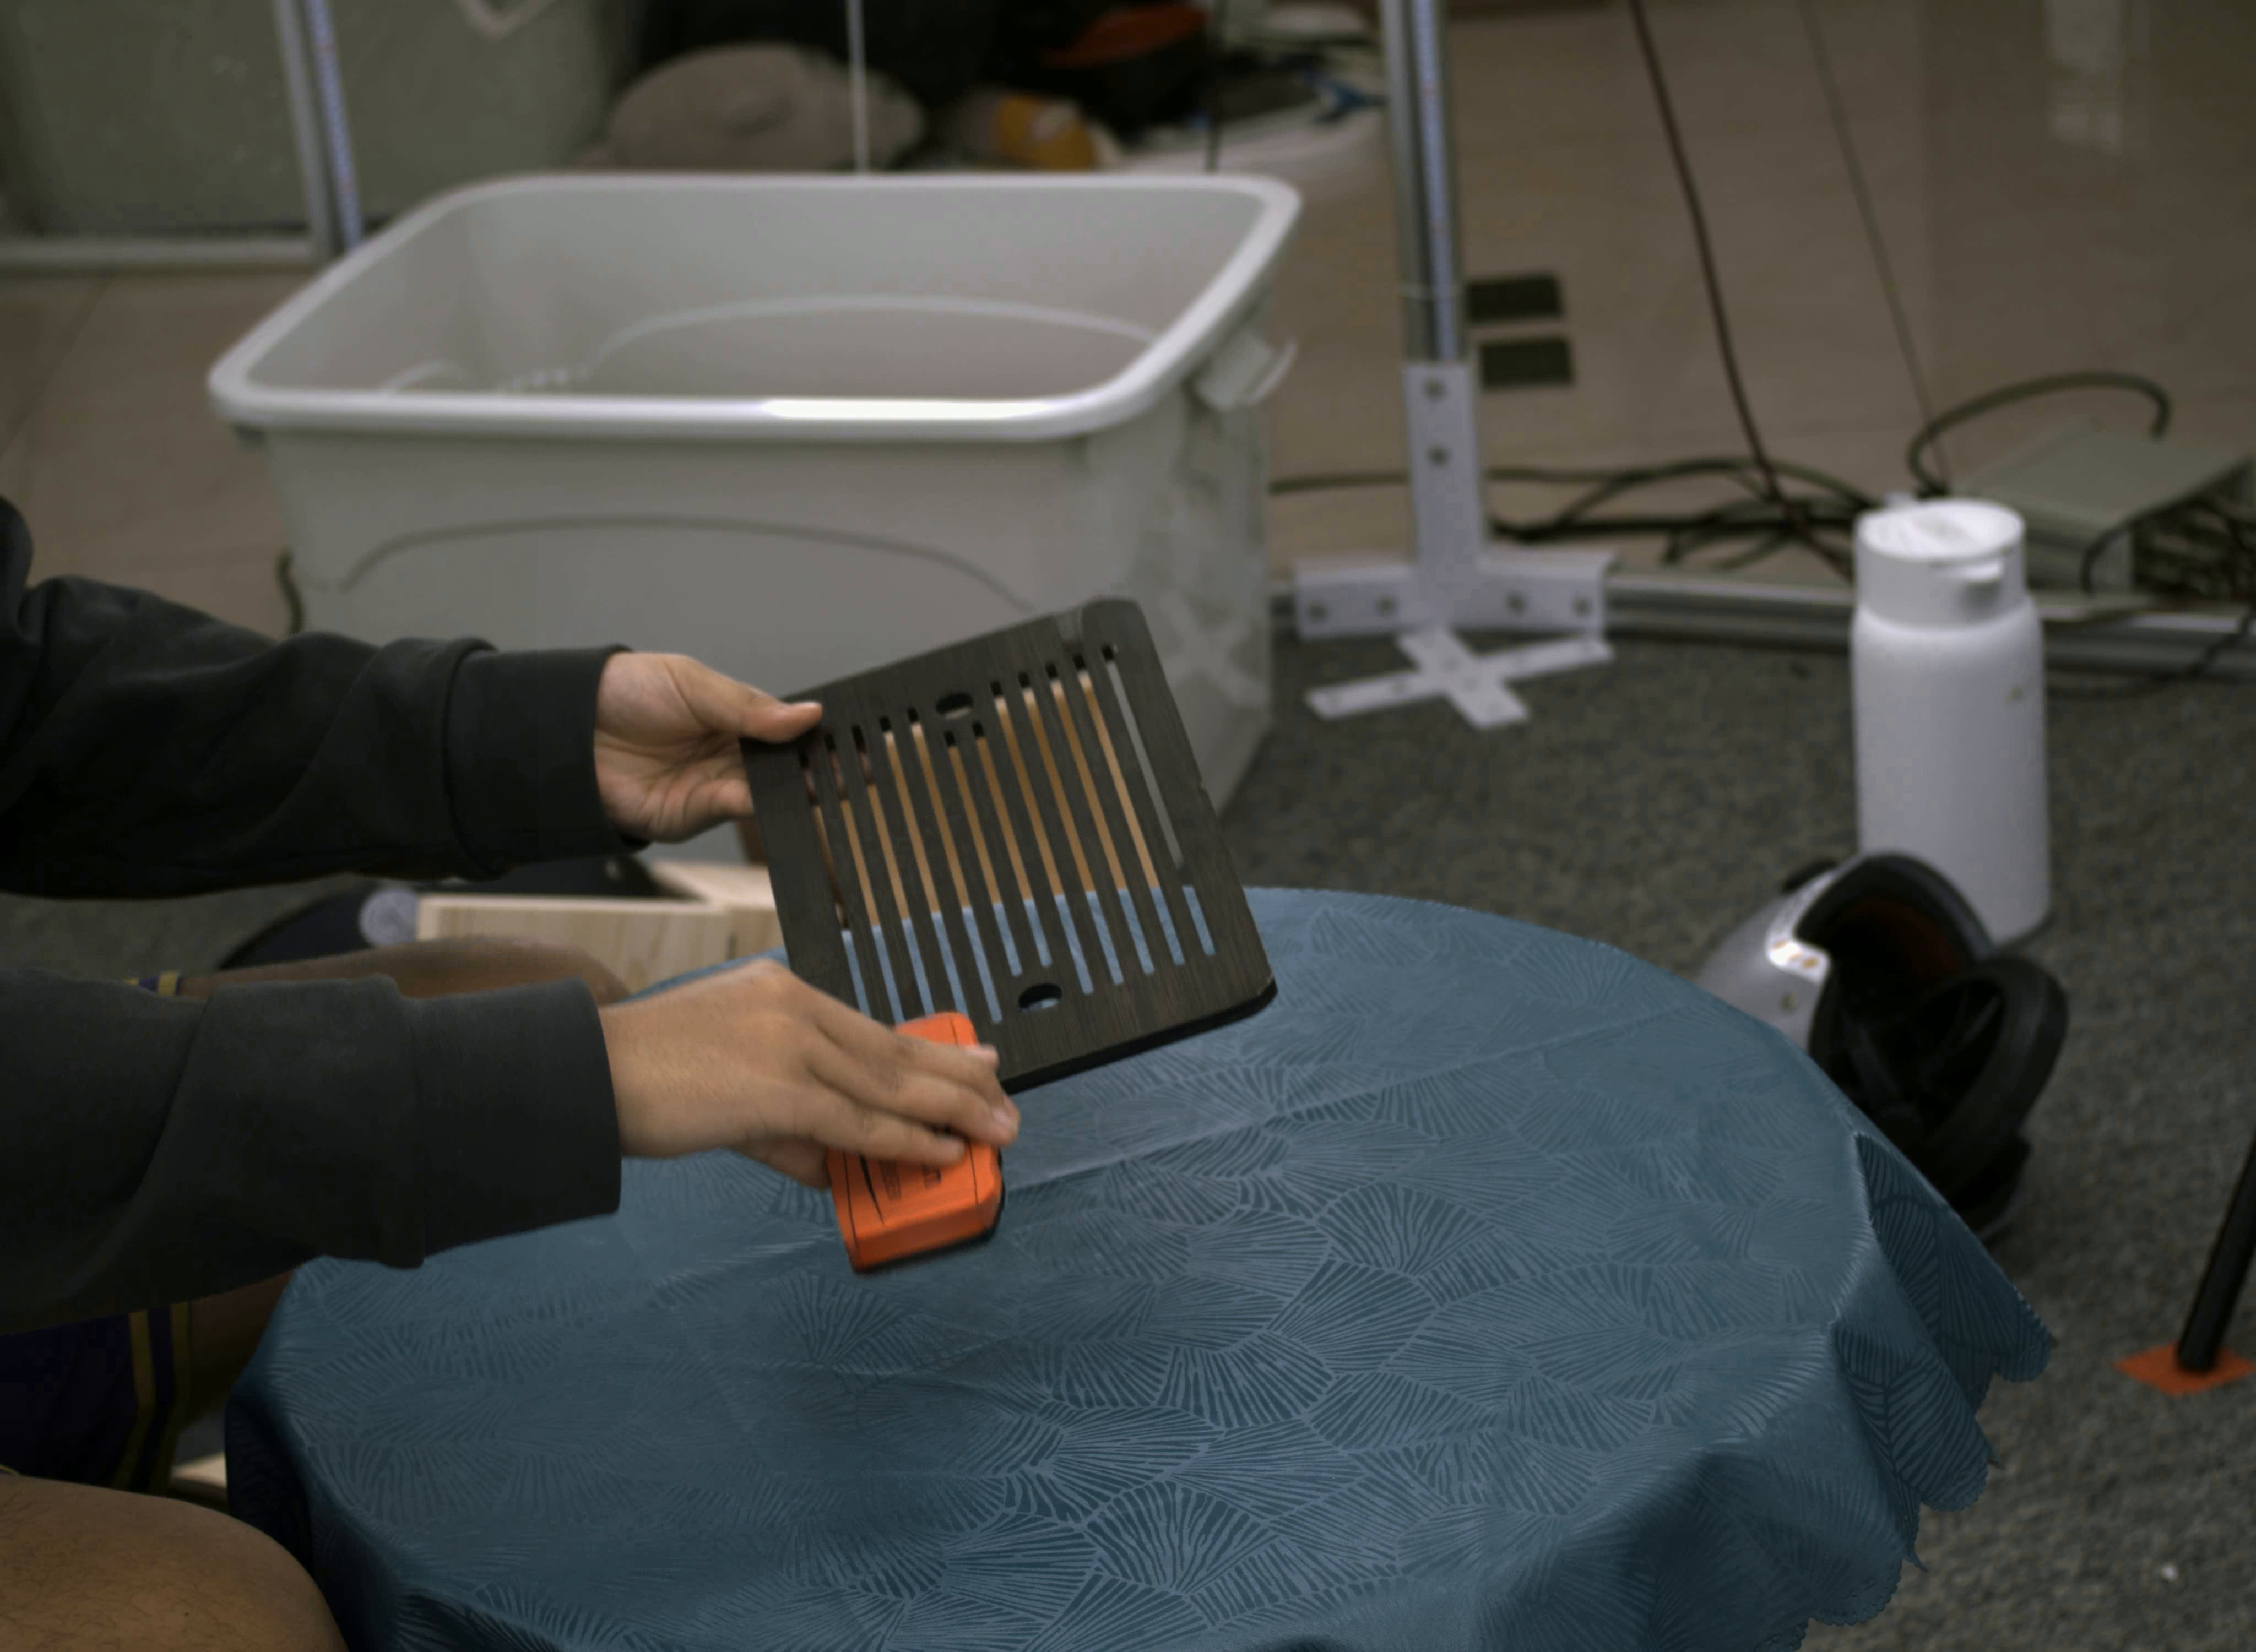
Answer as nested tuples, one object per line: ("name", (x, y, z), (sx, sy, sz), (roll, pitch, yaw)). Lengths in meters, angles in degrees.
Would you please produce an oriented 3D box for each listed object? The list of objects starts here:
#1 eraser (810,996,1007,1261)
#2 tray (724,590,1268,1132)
("eraser", (-0.077, 0.104, 1.977), (0.059, 0.023, 0.106), (-16, 38, 3))
("tray", (-0.054, 0.012, 2.136), (0.170, 0.019, 0.301), (-18, 34, 0))
